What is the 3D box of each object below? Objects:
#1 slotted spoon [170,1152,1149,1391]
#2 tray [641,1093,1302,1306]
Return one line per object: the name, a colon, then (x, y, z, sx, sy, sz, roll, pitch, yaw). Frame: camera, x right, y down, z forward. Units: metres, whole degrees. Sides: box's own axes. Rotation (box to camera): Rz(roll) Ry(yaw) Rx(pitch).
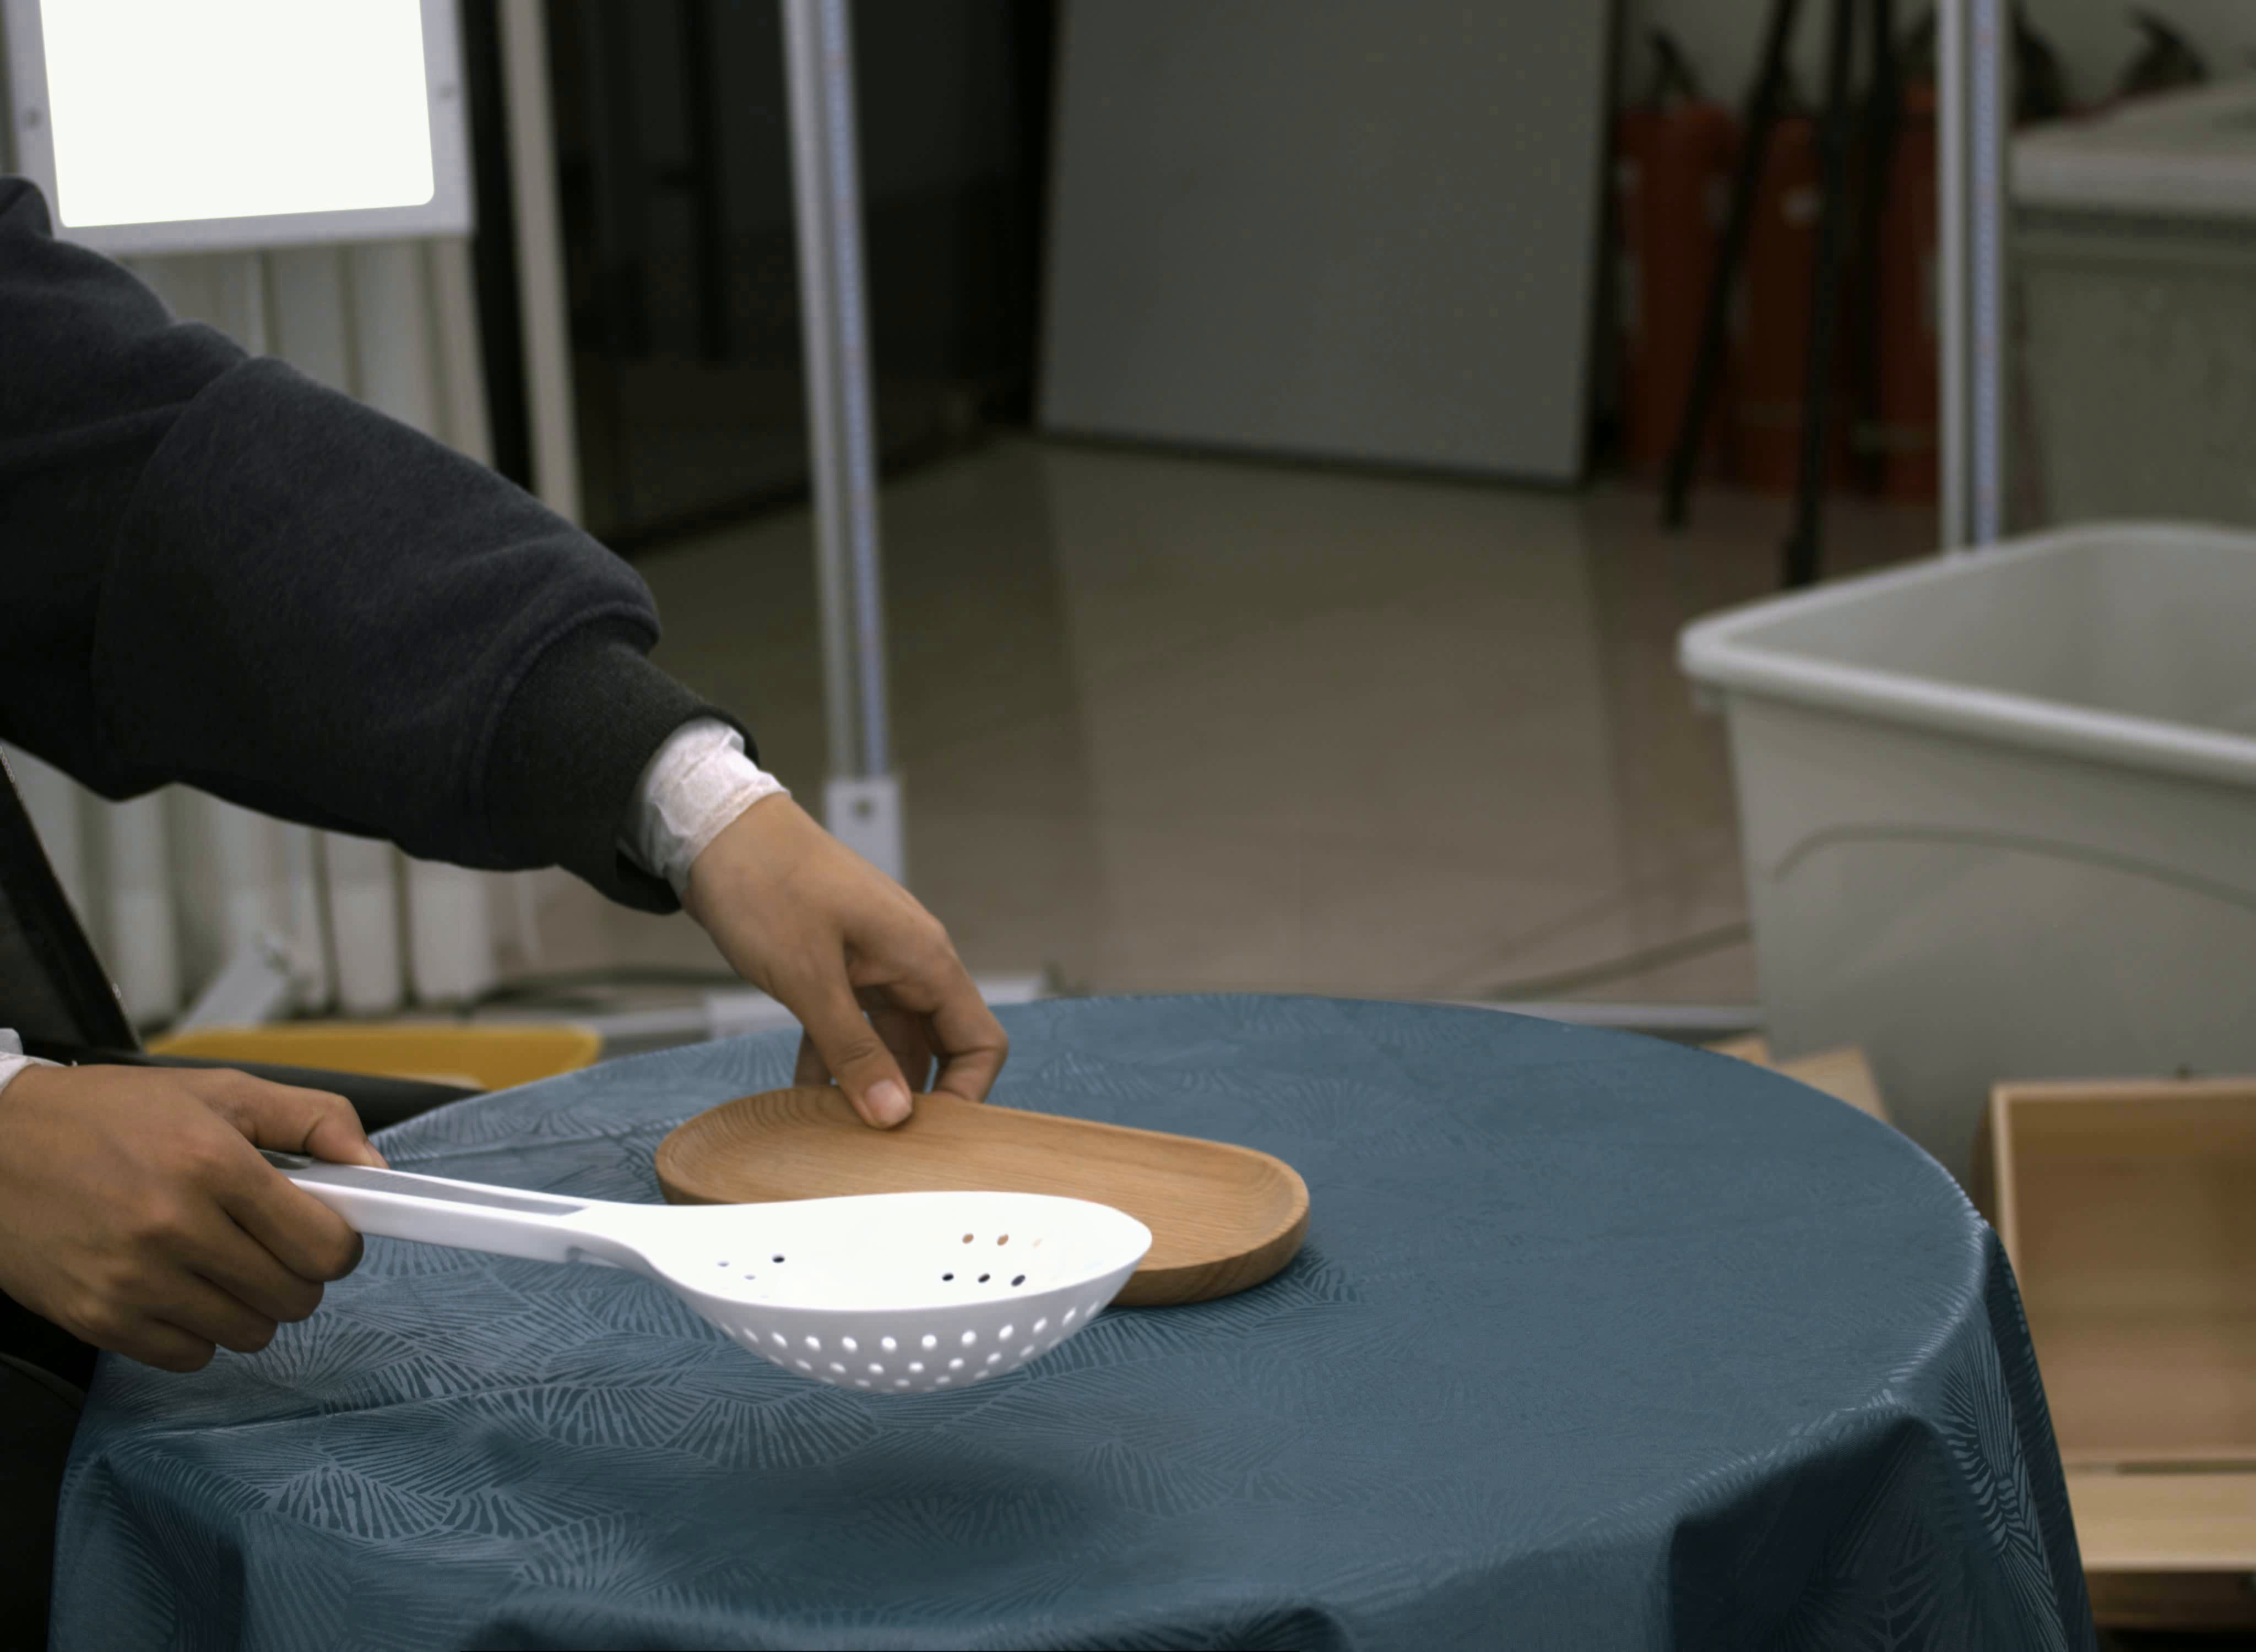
slotted spoon: (-0.147, 0.118, 1.565, 0.352, 0.046, 0.133, 9, 13, 36)
tray: (-0.051, 0.119, 1.731, 0.232, 0.020, 0.100, 6, 19, 29)
